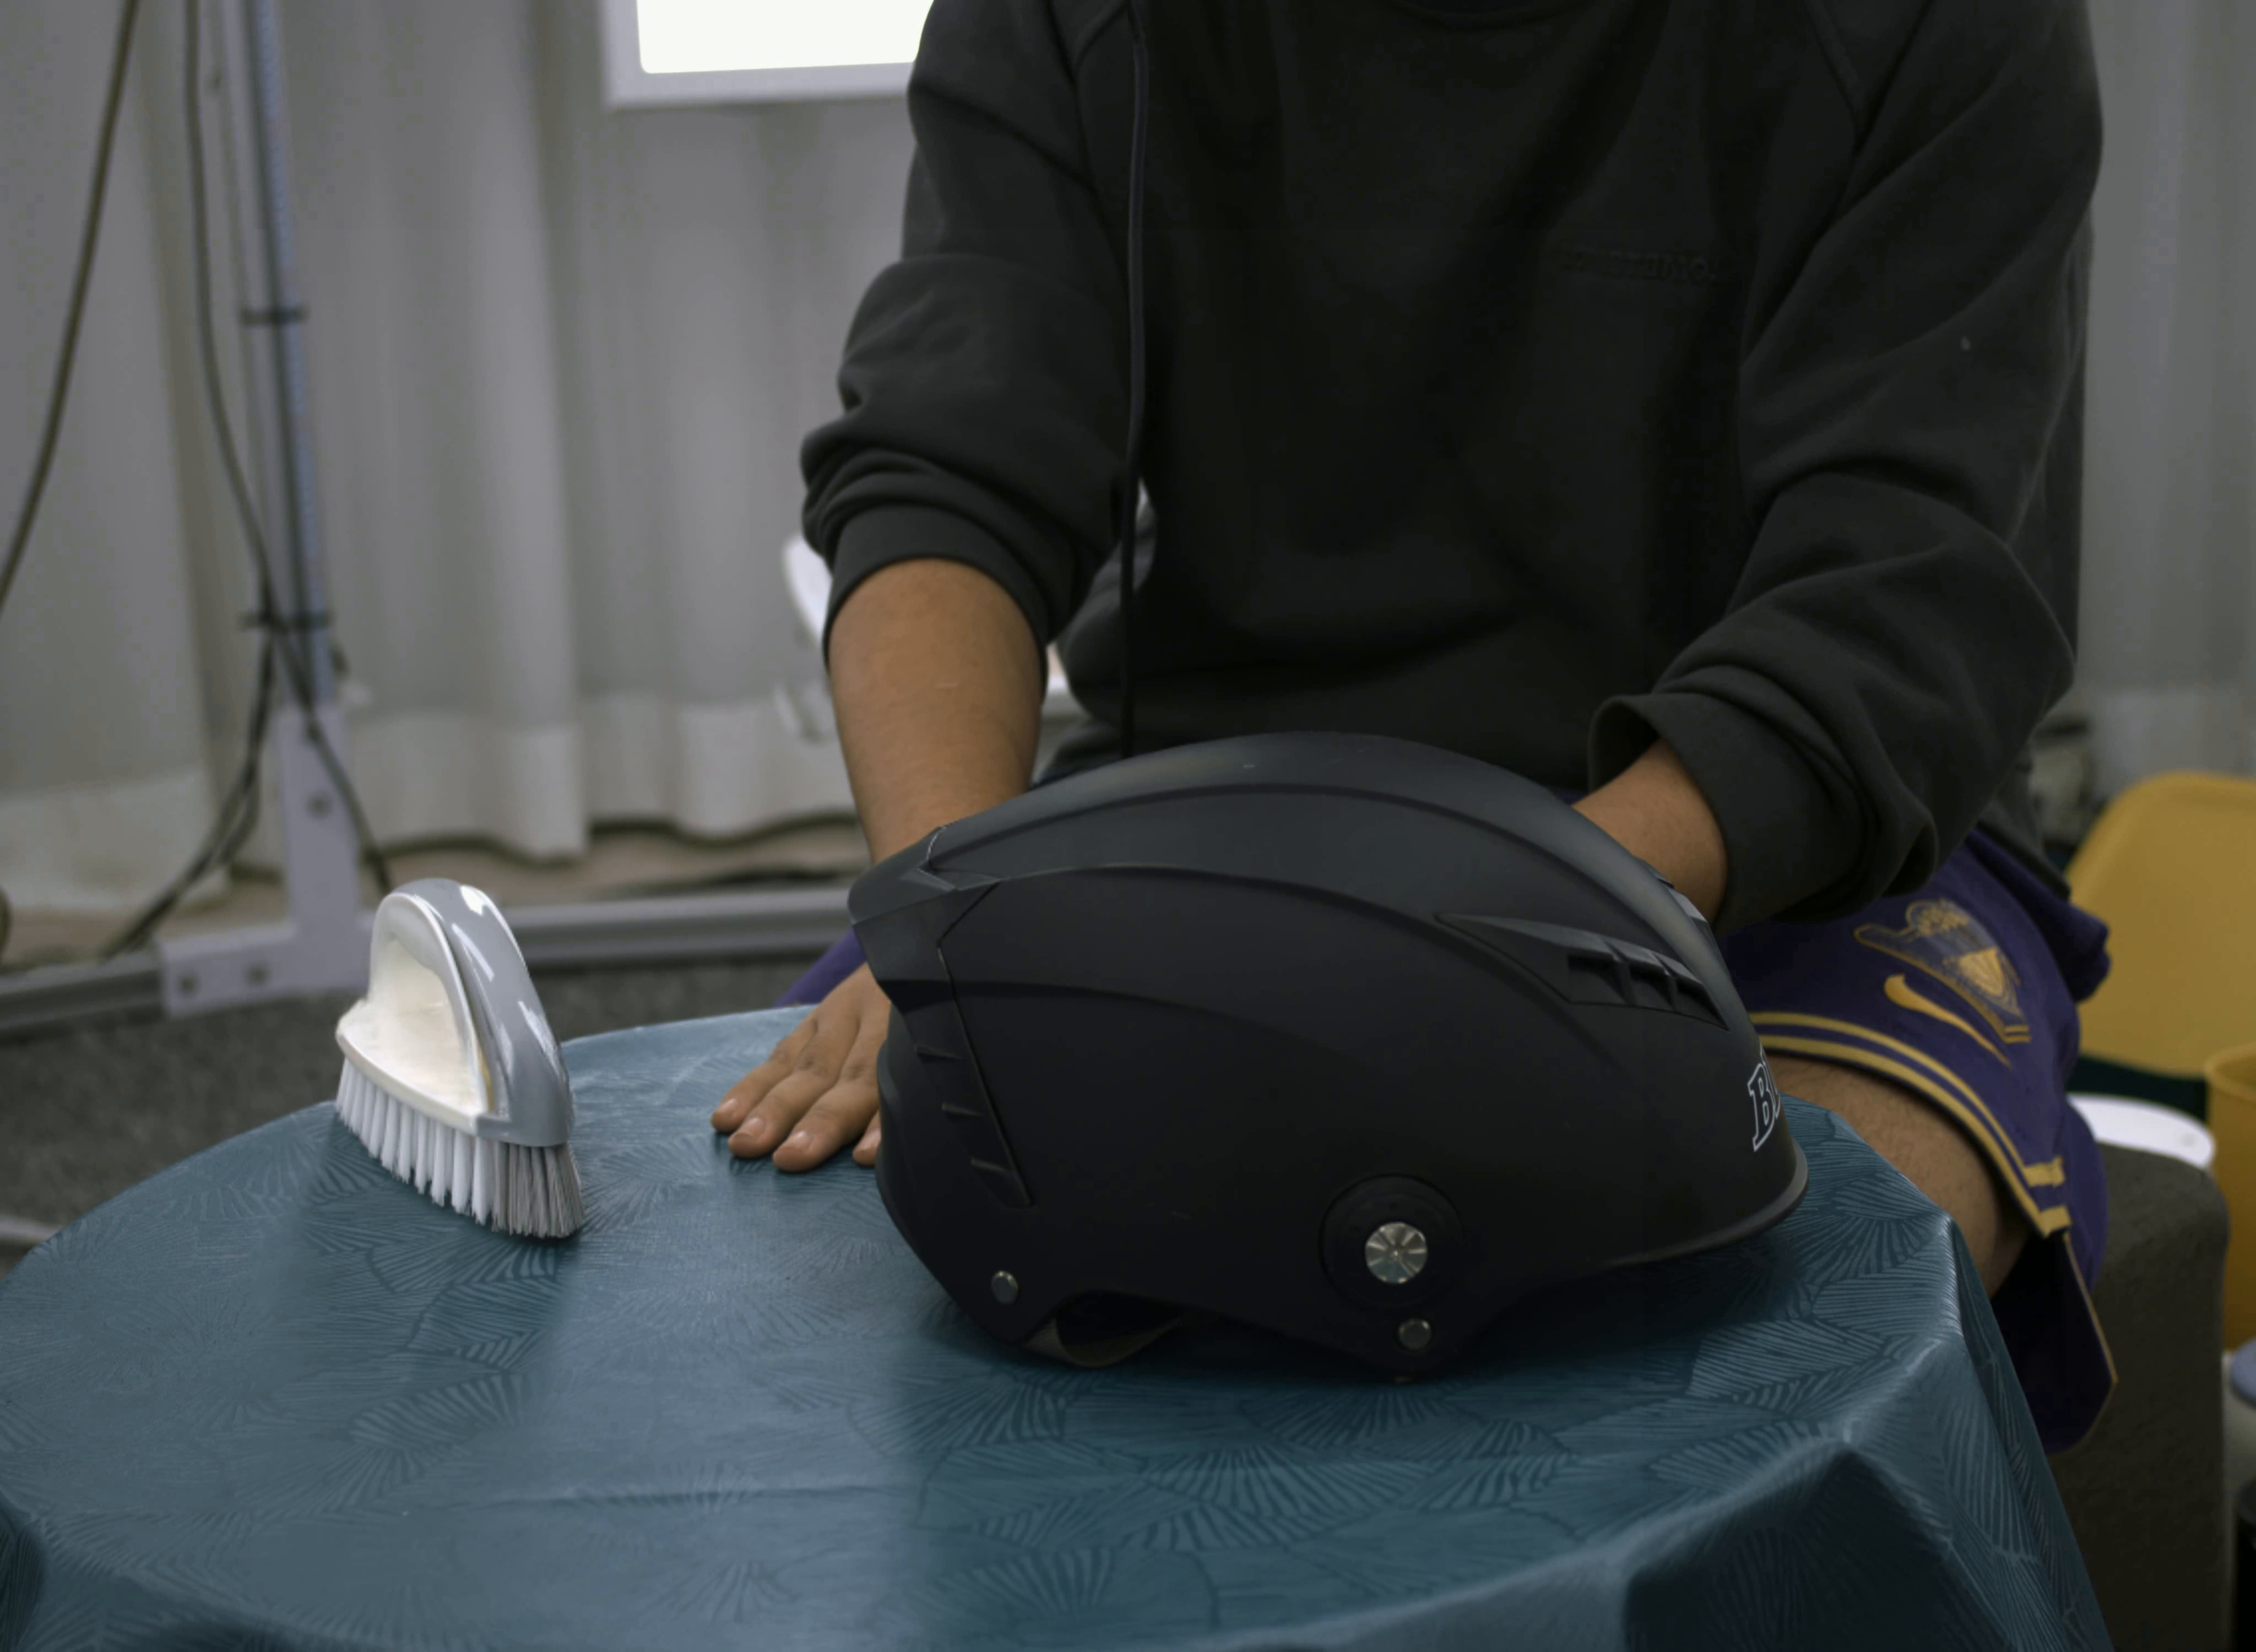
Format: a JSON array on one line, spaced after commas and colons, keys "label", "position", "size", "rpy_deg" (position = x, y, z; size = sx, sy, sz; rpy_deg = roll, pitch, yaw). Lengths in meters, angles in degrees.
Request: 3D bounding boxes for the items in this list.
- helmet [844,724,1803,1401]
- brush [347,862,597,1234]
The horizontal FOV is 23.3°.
[{"label": "helmet", "position": [0.056, 0.056, 1.621], "size": [0.276, 0.172, 0.248], "rpy_deg": [-4, 15, 11]}, {"label": "brush", "position": [-0.208, 0.067, 1.760], "size": [0.061, 0.094, 0.177], "rpy_deg": [-12, 19, -19]}]
